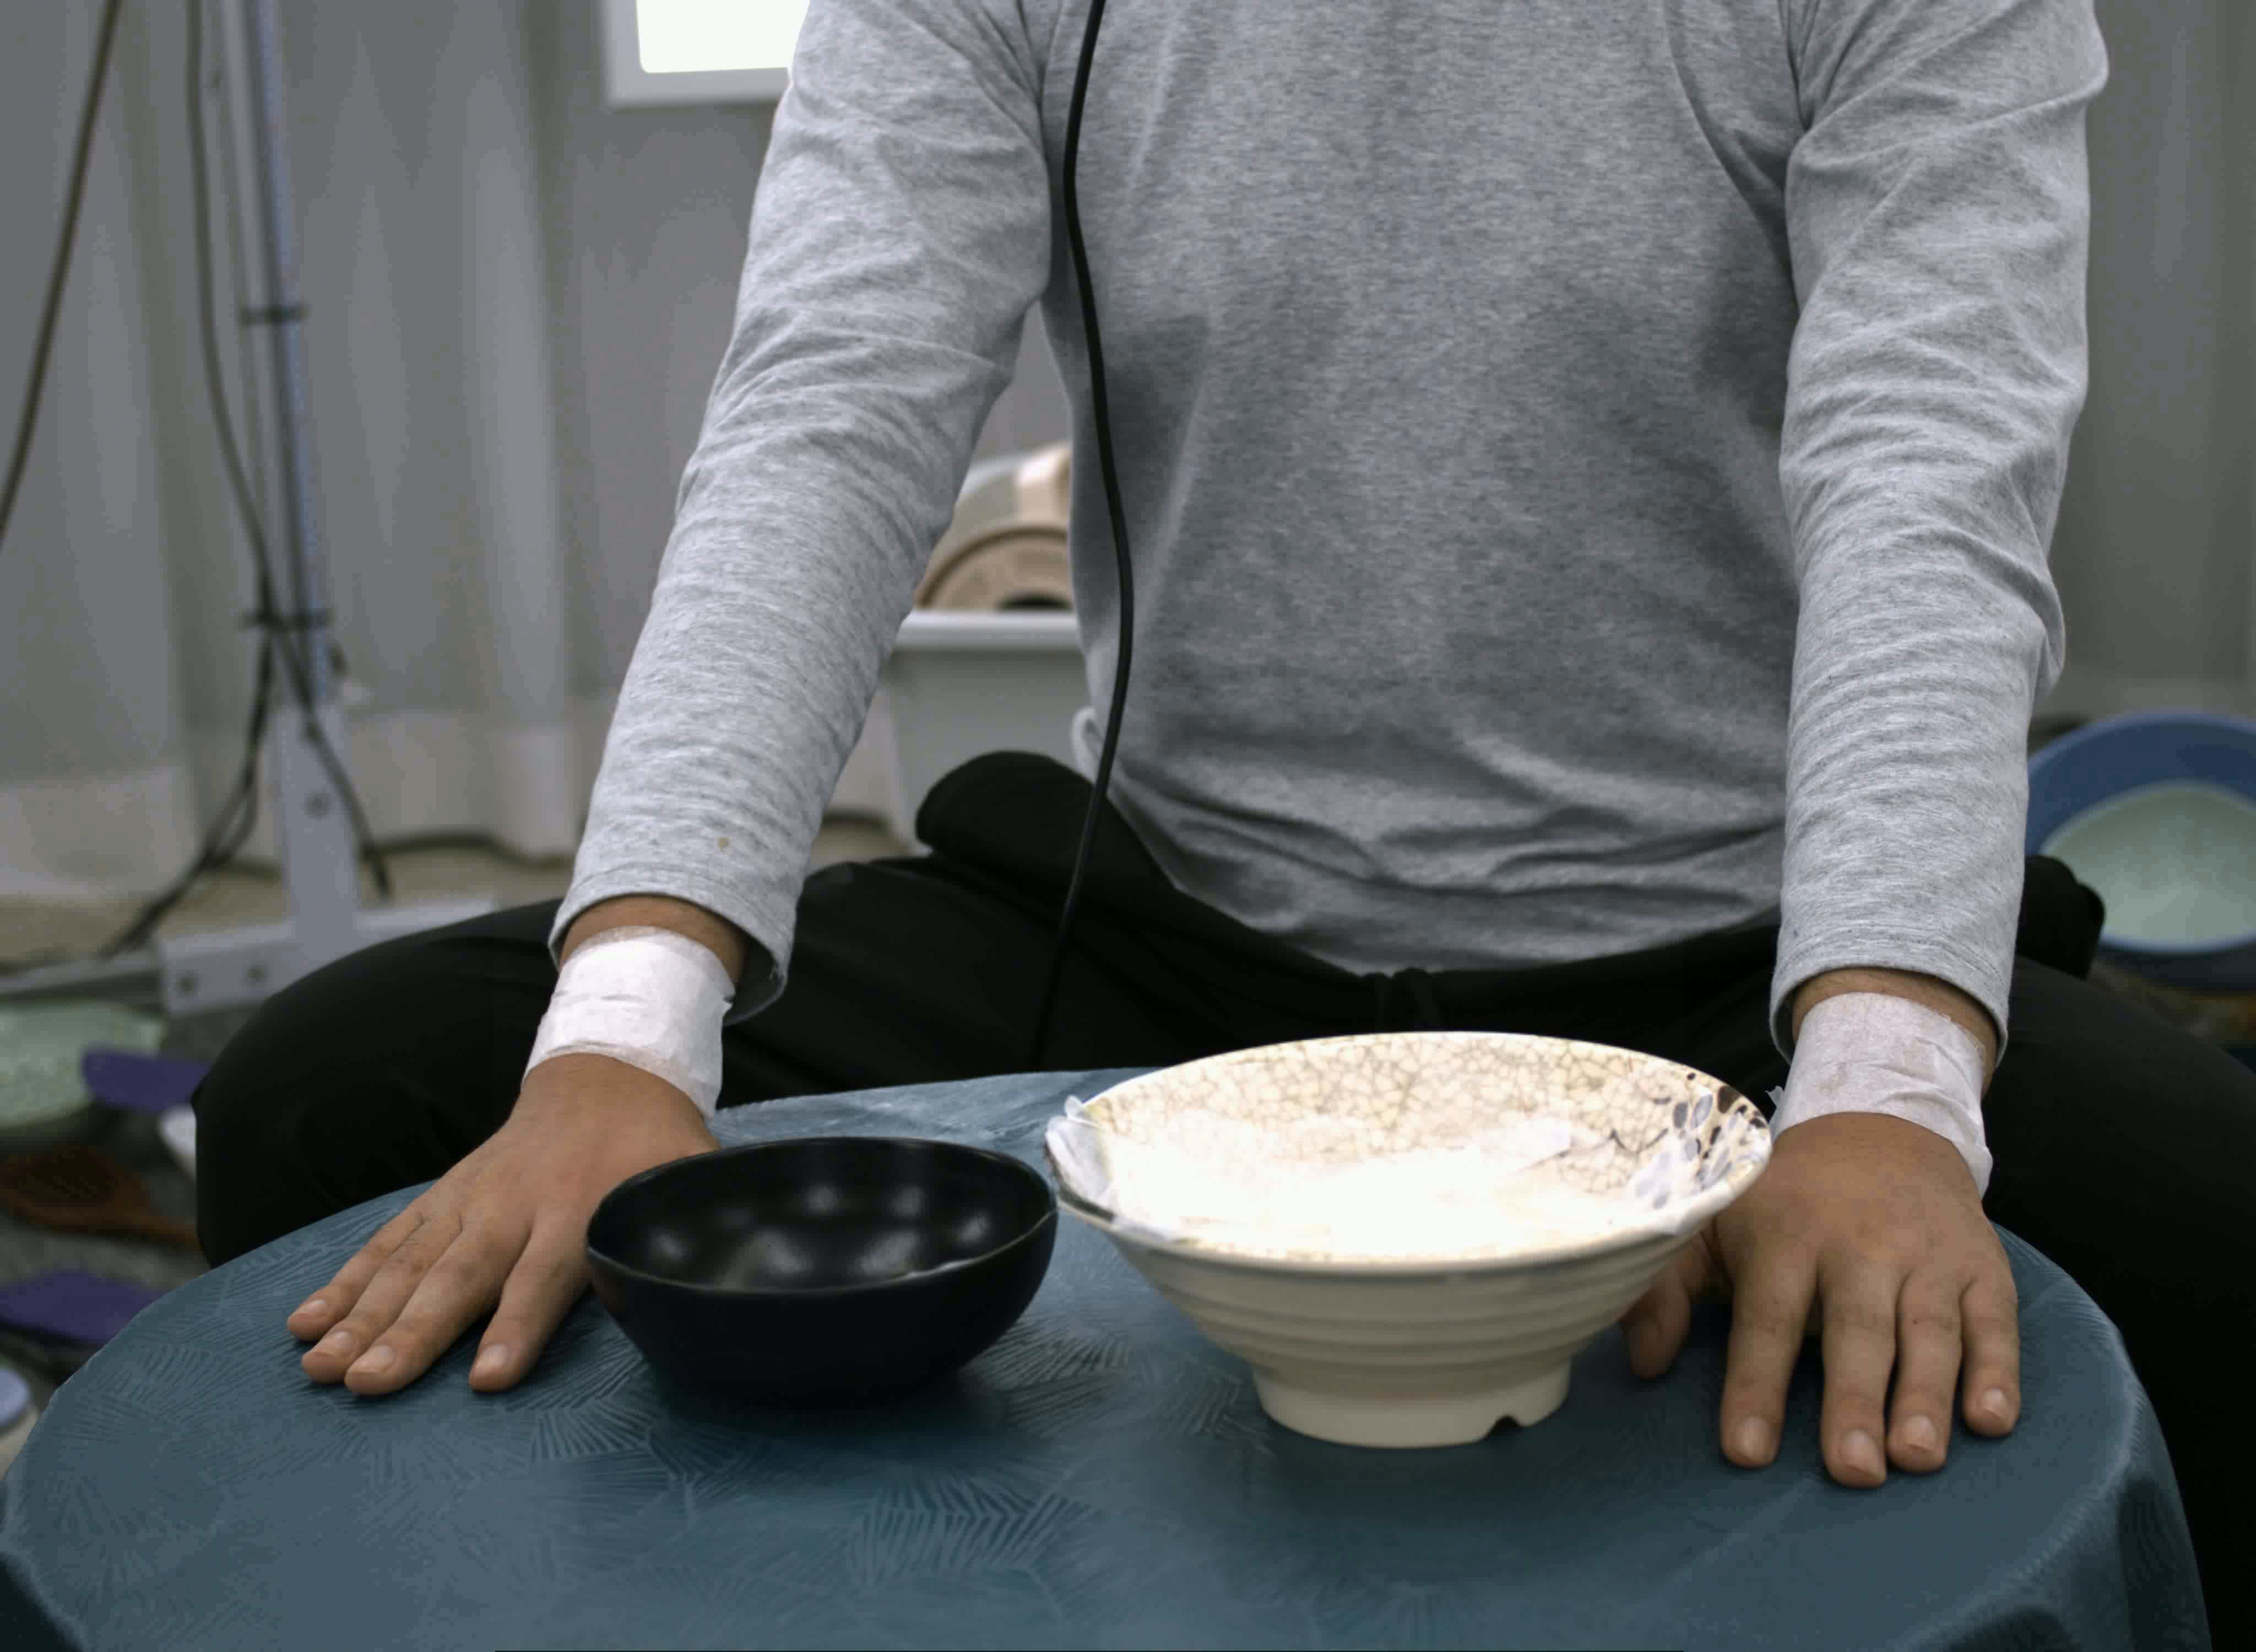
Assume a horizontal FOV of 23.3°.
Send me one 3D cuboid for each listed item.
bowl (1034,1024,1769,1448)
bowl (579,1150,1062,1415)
[{"bbox_3d":[0.077,0.122,1.523,0.203,0.077,0.205,-2,15,0],"label":"bowl"},{"bbox_3d":[-0.088,0.135,1.570,0.139,0.049,0.141,0,12,0],"label":"bowl"}]
